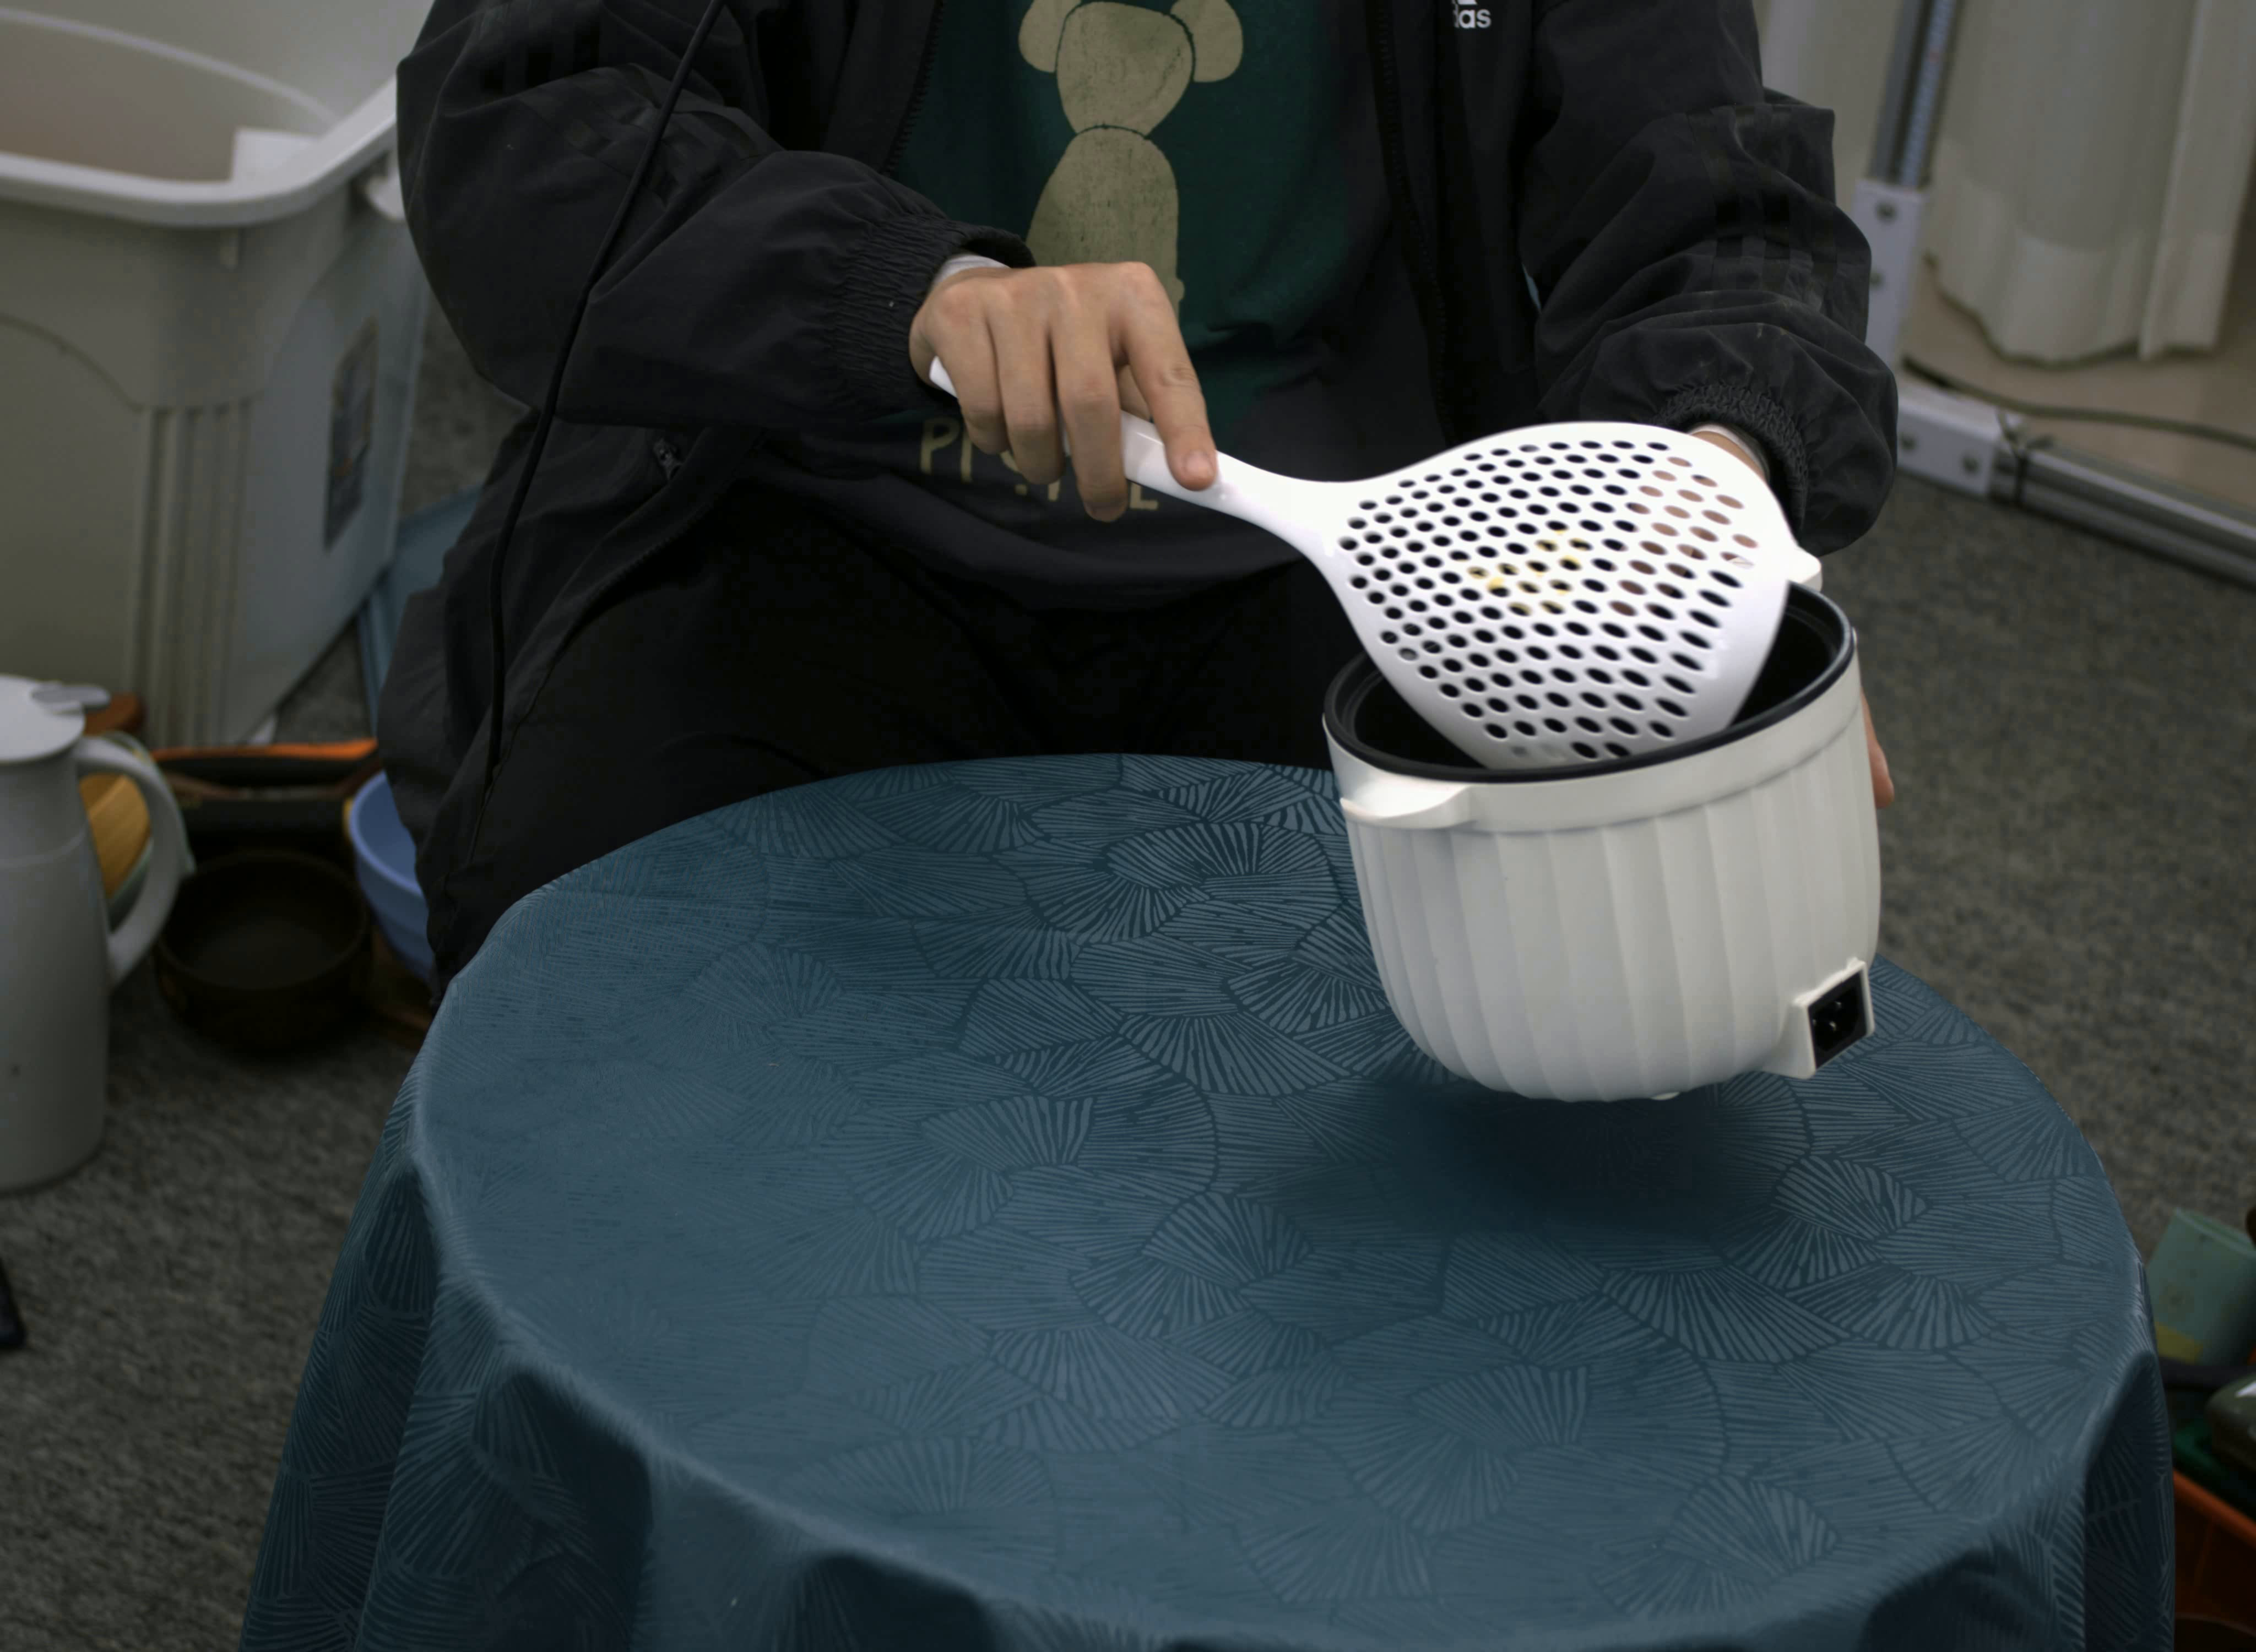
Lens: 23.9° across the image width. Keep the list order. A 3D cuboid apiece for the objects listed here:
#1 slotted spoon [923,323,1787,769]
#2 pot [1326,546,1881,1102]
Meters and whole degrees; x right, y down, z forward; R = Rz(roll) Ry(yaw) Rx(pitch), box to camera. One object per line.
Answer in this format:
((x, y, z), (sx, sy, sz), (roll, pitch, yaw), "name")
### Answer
((0.068, -0.114, 1.862), (0.350, 0.137, 0.050), (21, -4, 36), "slotted spoon")
((0.162, 0.006, 1.823), (0.192, 0.142, 0.239), (14, 31, 41), "pot")
